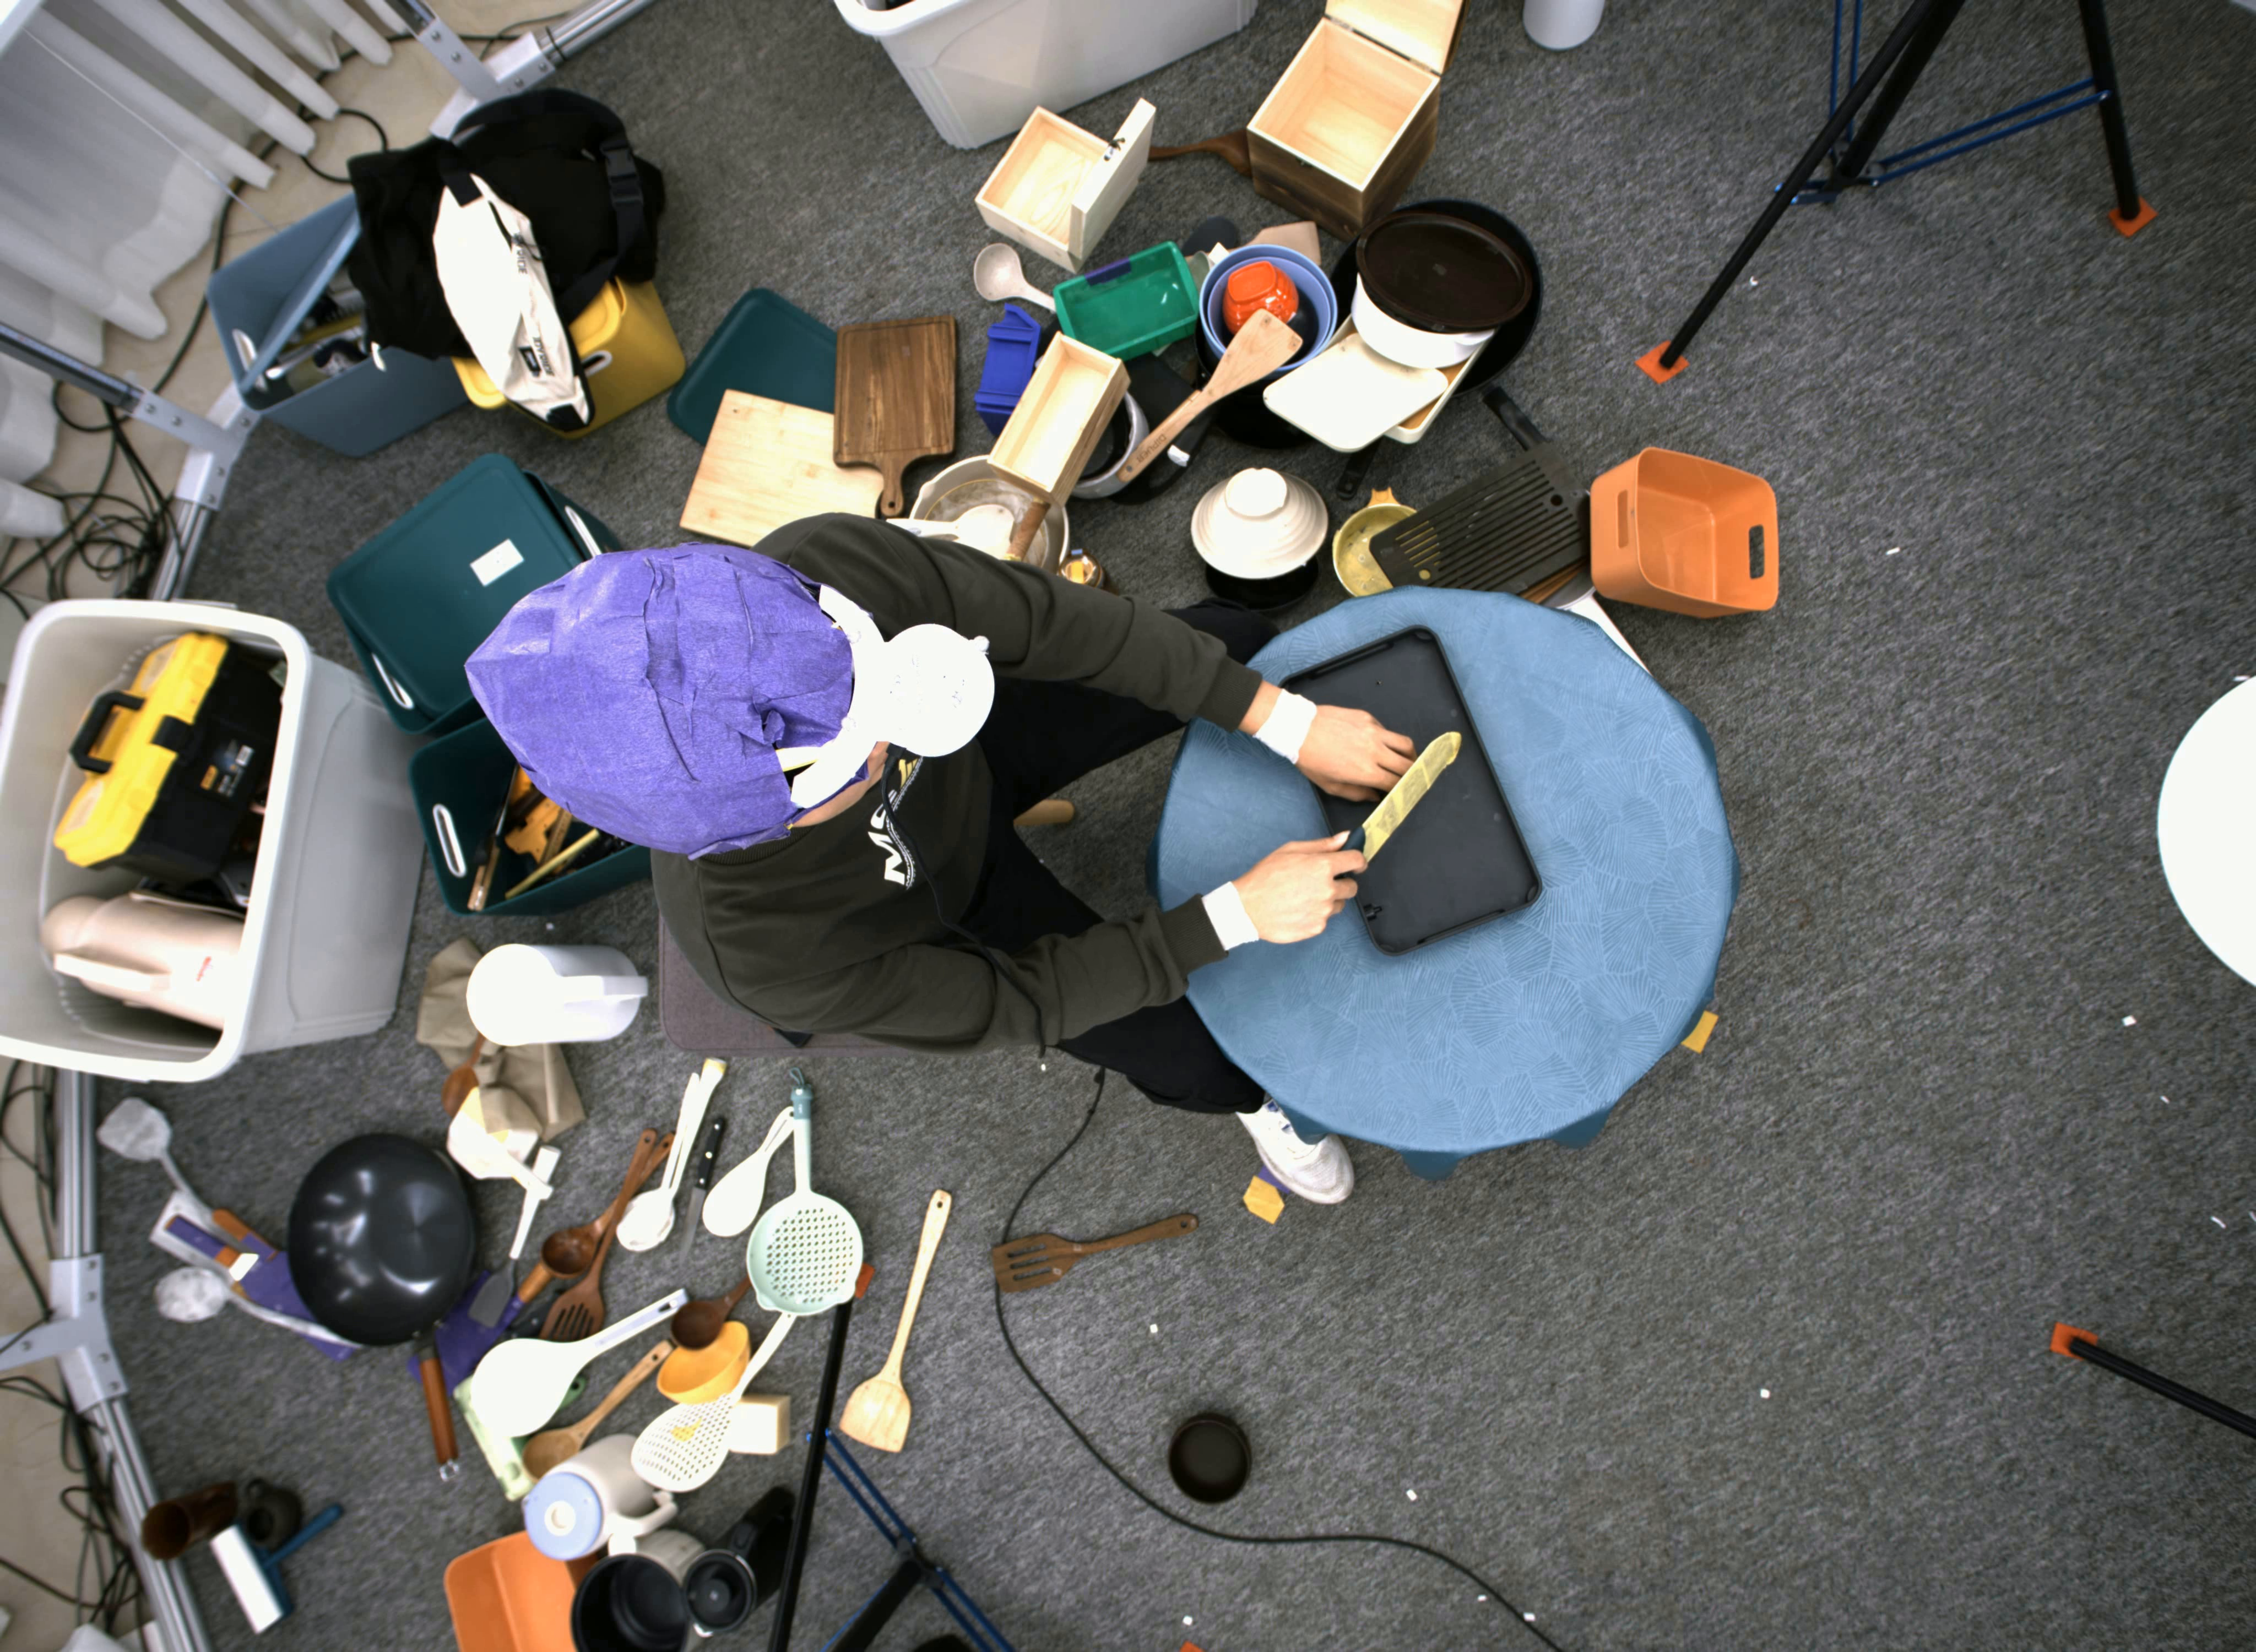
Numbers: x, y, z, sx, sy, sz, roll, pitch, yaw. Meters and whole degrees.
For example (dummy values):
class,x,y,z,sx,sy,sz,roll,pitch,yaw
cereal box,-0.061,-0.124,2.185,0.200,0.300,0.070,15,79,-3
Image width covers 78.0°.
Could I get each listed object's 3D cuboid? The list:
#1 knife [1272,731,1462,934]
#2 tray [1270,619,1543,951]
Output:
class,x,y,z,sx,sy,sz,roll,pitch,yaw
knife,0.250,0.005,1.412,0.288,0.082,0.027,-46,57,-6
tray,0.289,-0.044,1.443,0.185,0.037,0.316,-24,82,8
